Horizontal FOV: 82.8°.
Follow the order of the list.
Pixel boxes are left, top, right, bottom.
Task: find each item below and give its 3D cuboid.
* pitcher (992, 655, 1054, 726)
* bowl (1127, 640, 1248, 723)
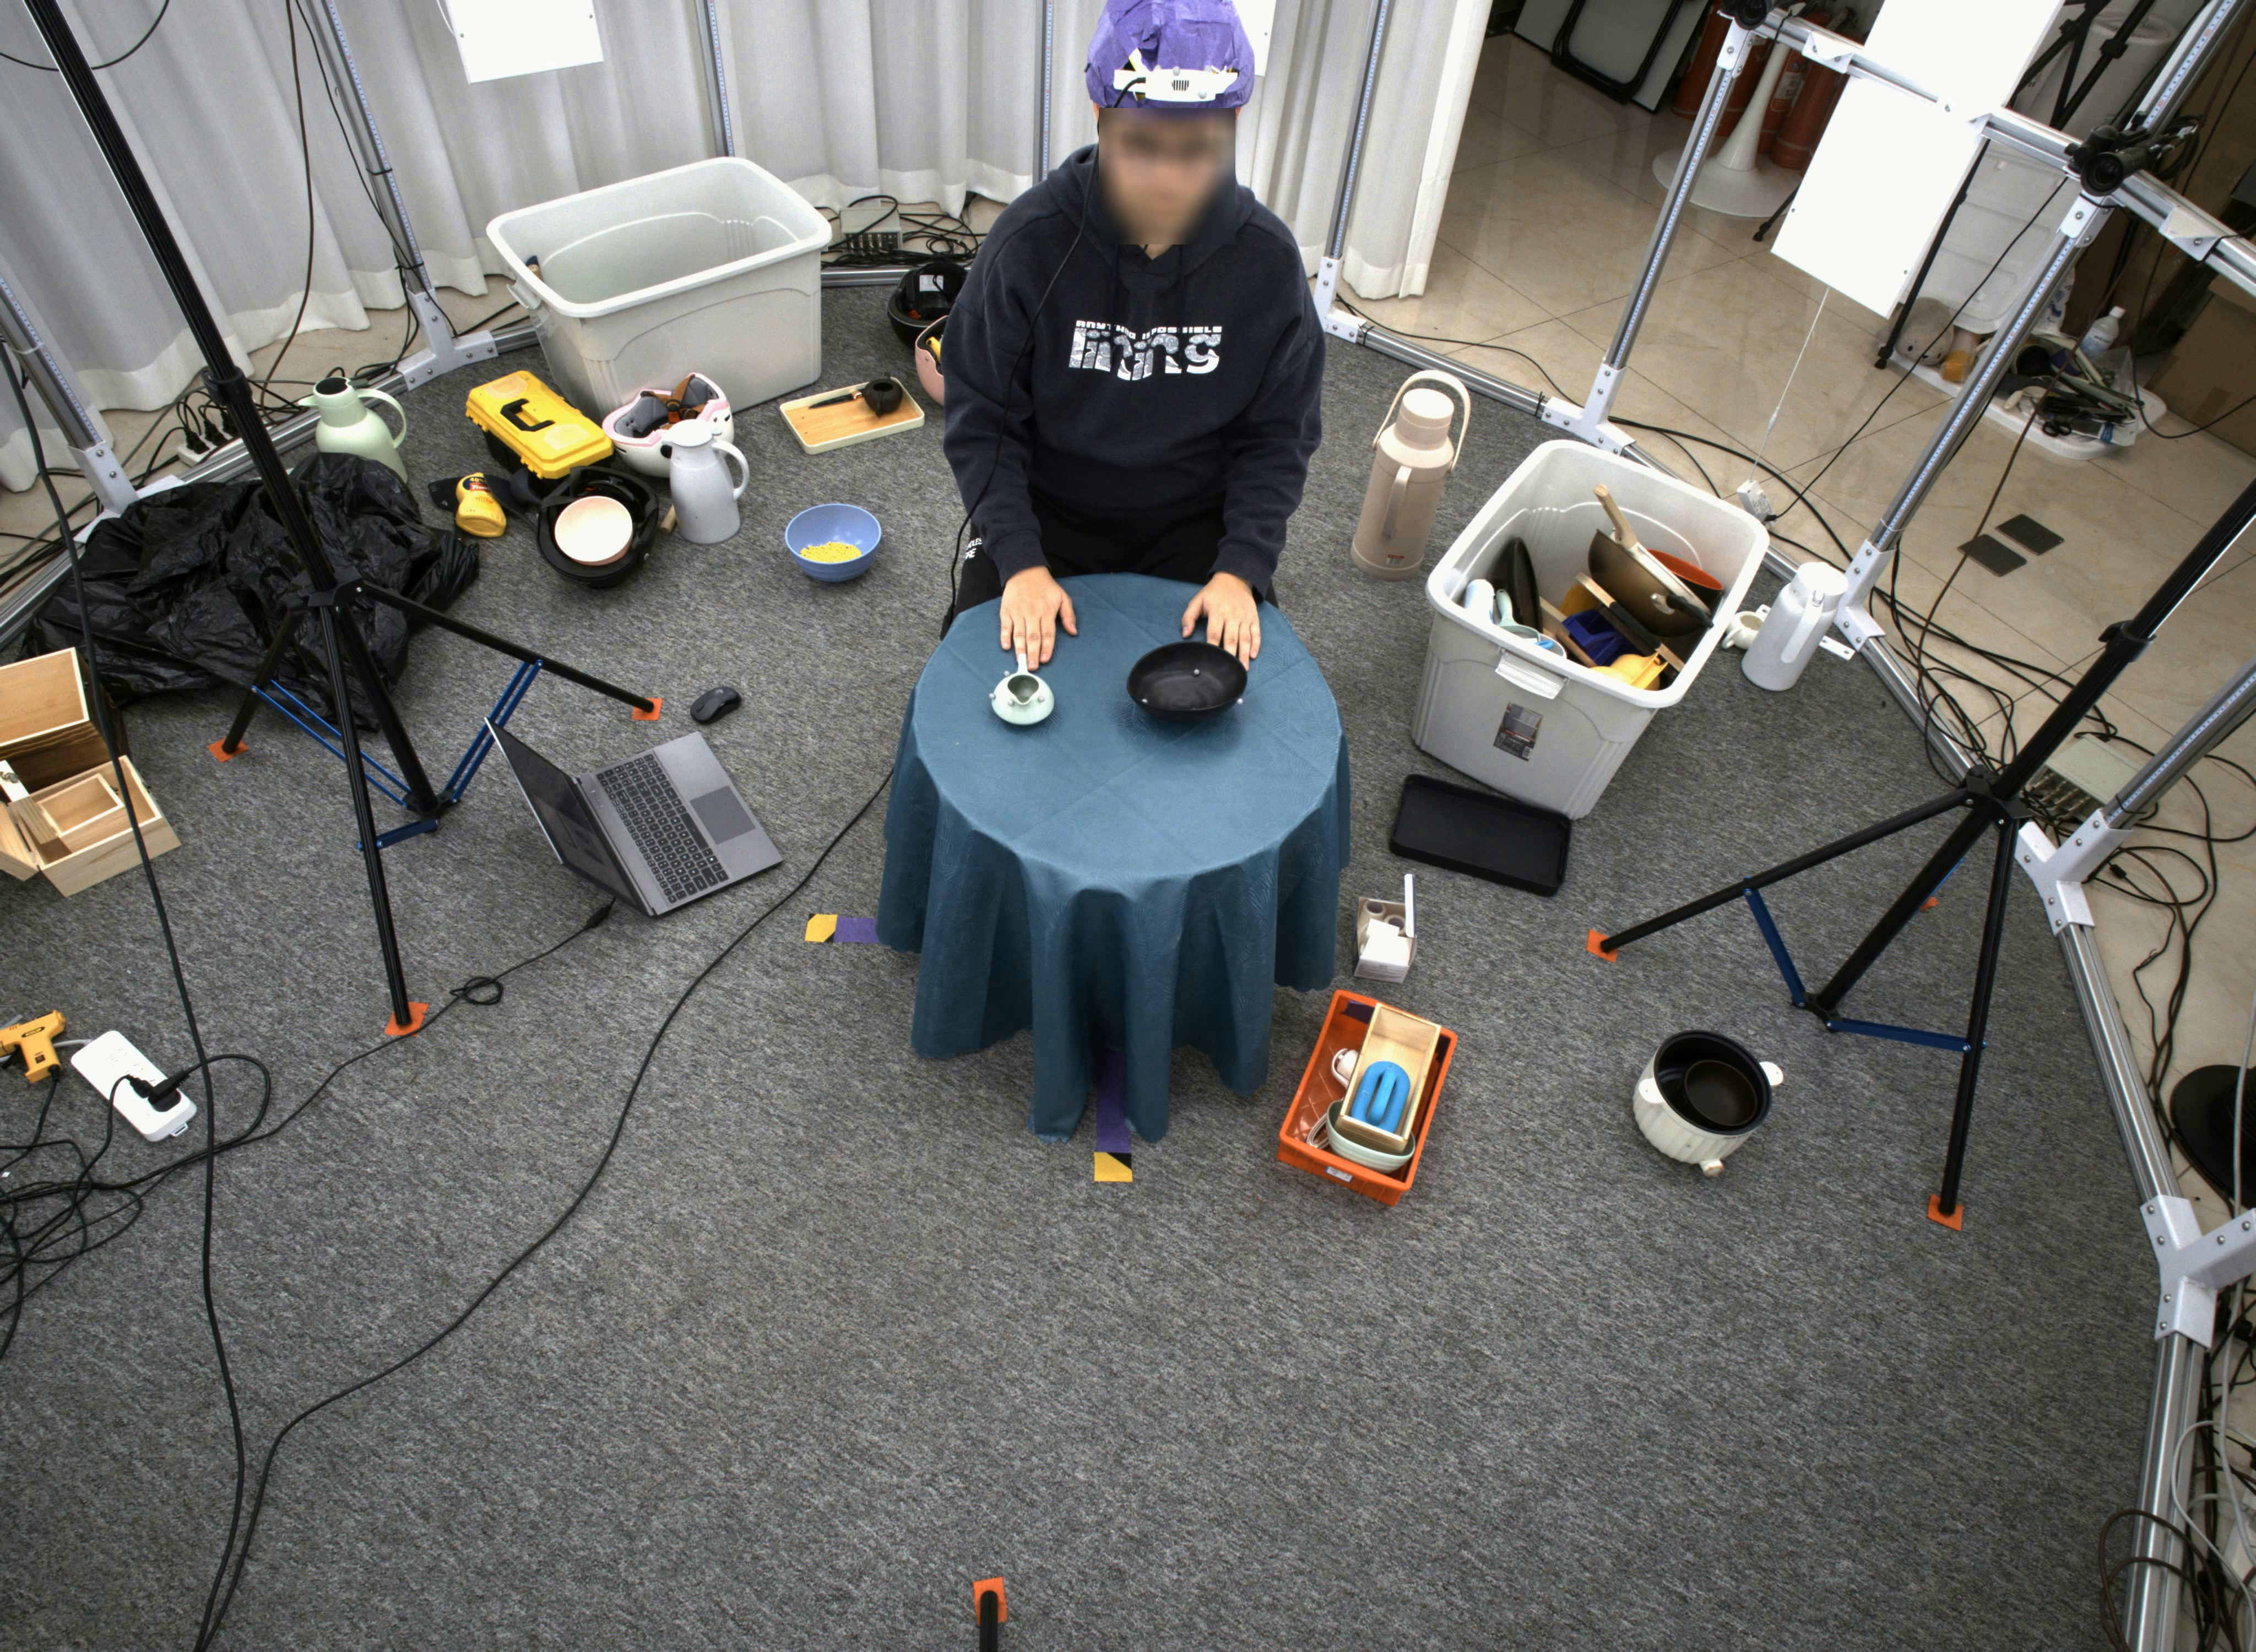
[{"bbox_3d":[-0.146,-0.187,1.780,0.086,0.059,0.111,0,47,-6],"label":"pitcher"},{"bbox_3d":[0.082,-0.189,1.795,0.170,0.065,0.141,-10,50,-11],"label":"bowl"}]
